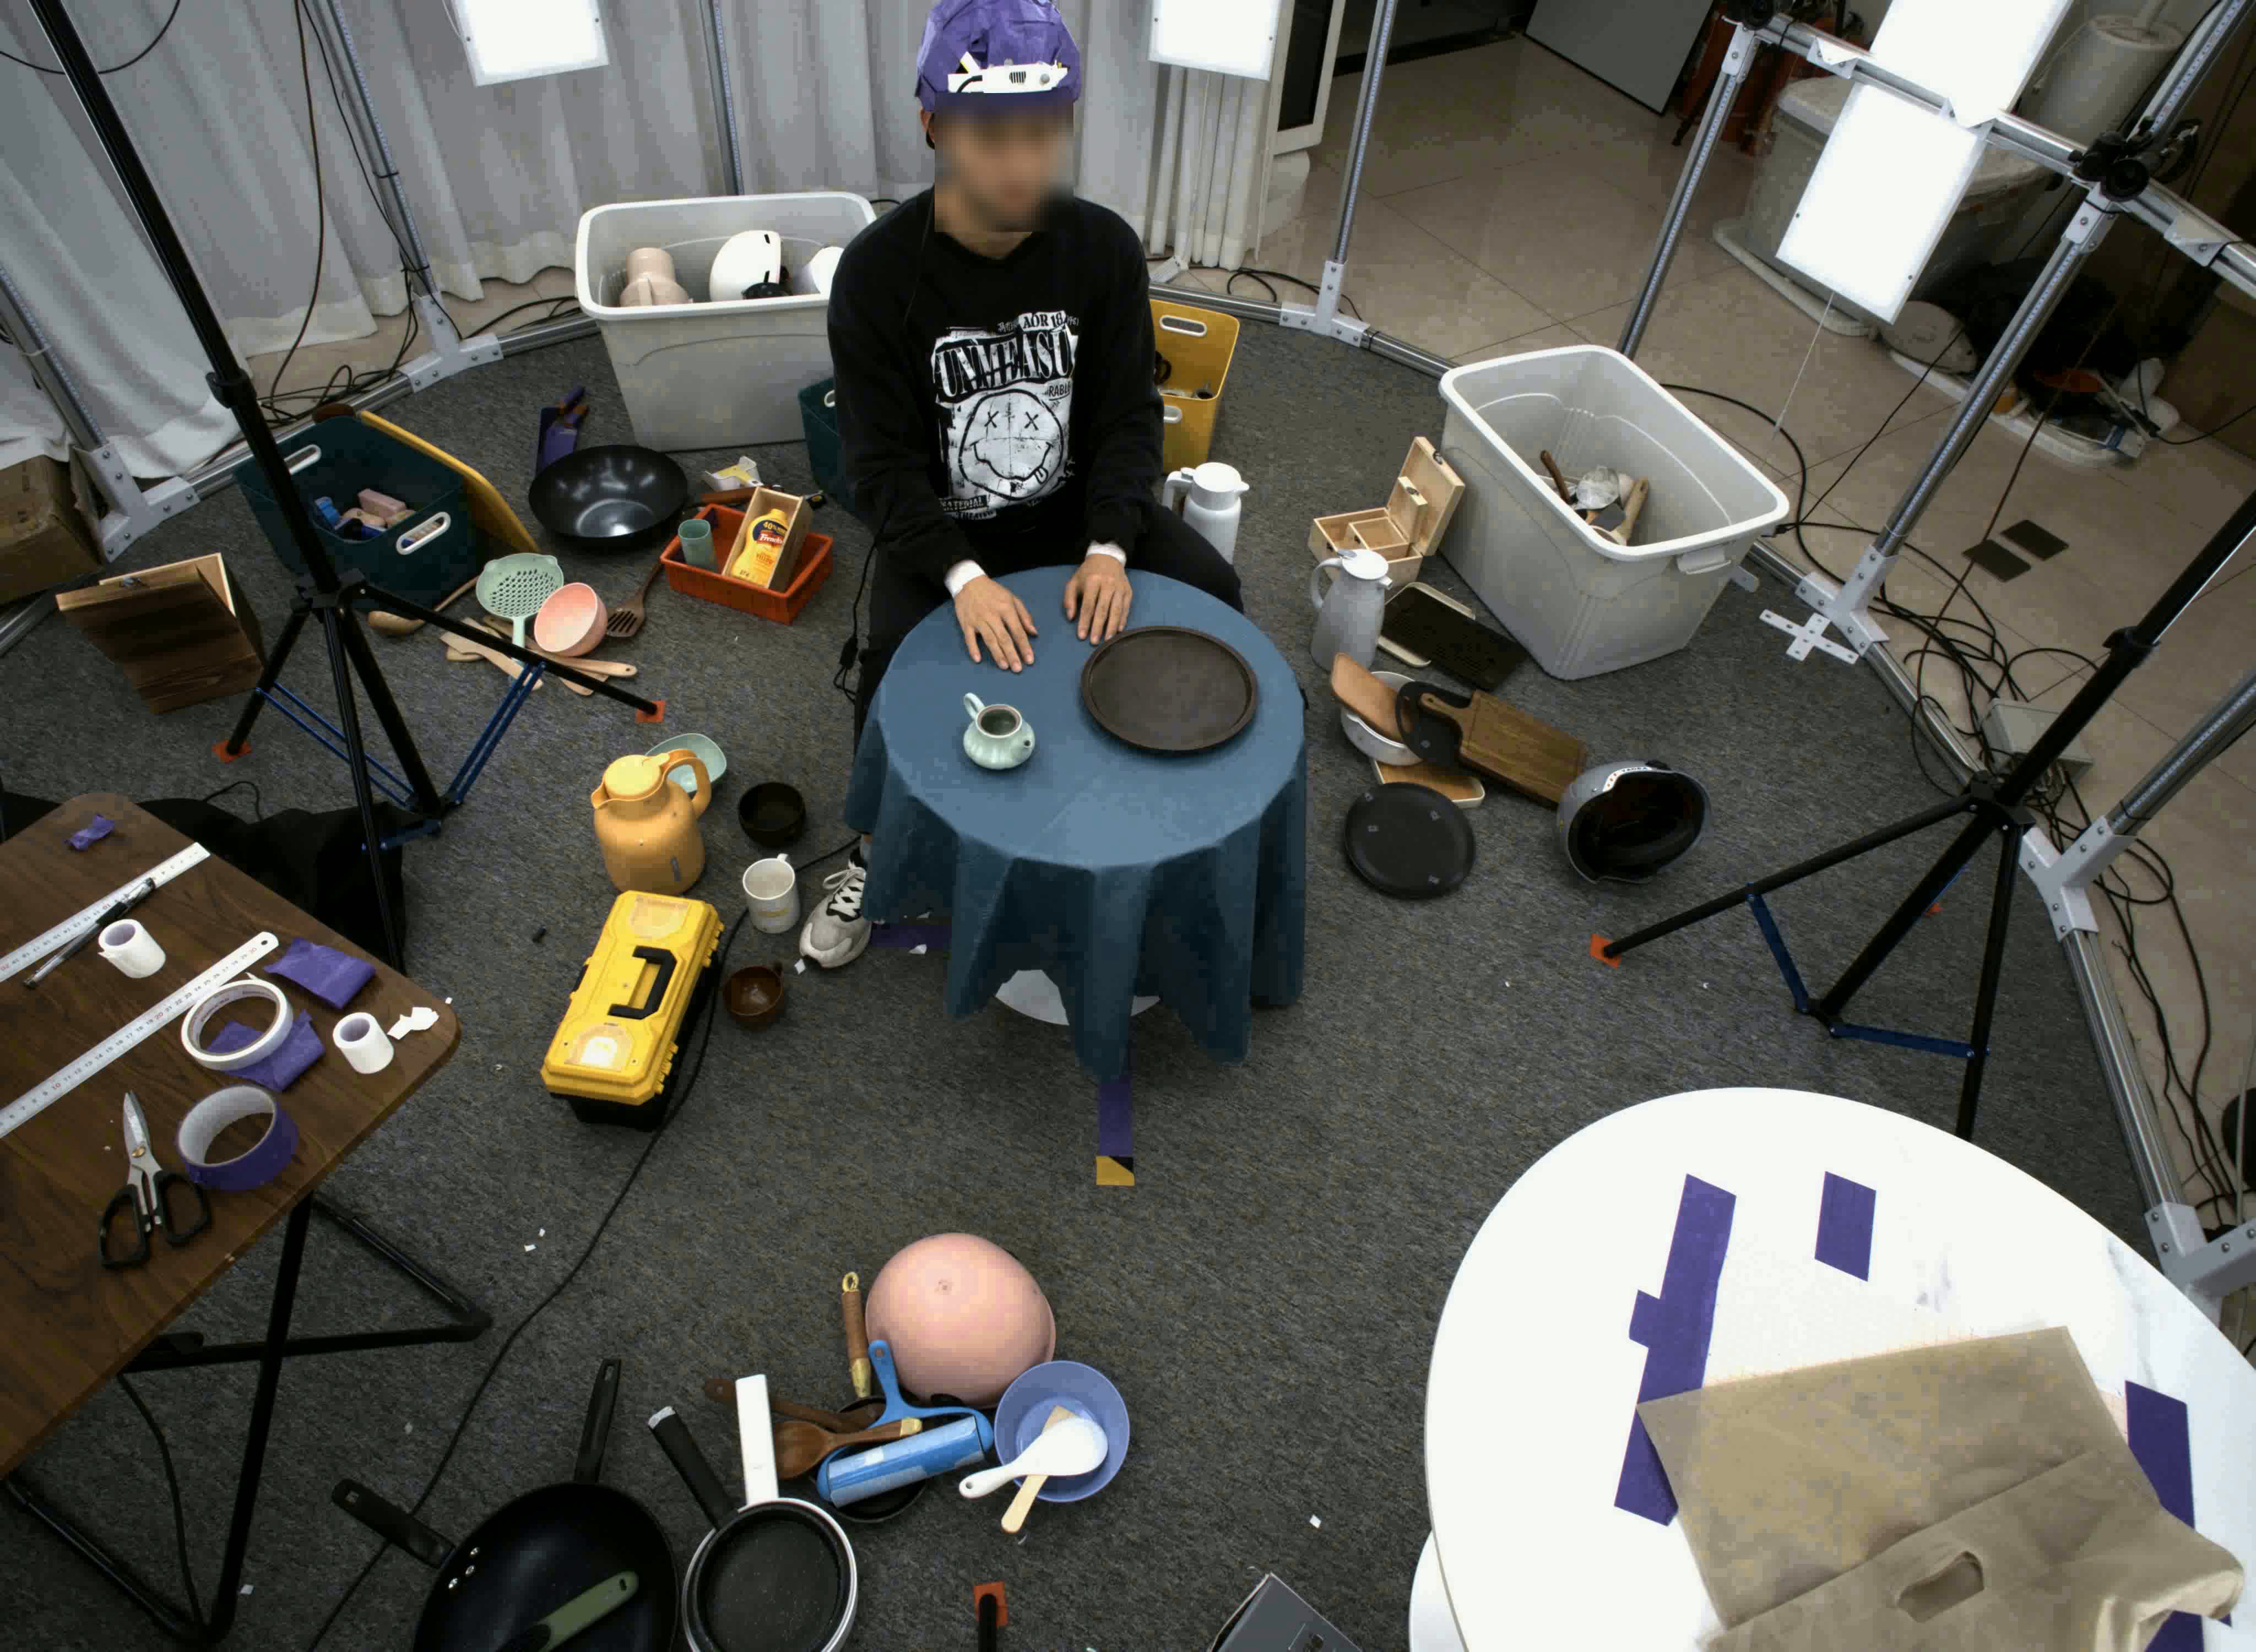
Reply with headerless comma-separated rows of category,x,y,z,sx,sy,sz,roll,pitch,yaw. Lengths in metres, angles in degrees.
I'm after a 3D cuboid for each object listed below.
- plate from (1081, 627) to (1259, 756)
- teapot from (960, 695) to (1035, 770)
plate,0.060,-0.194,1.825,0.254,0.028,0.261,1,50,-2
teapot,-0.177,-0.126,1.729,0.139,0.060,0.097,38,58,25
